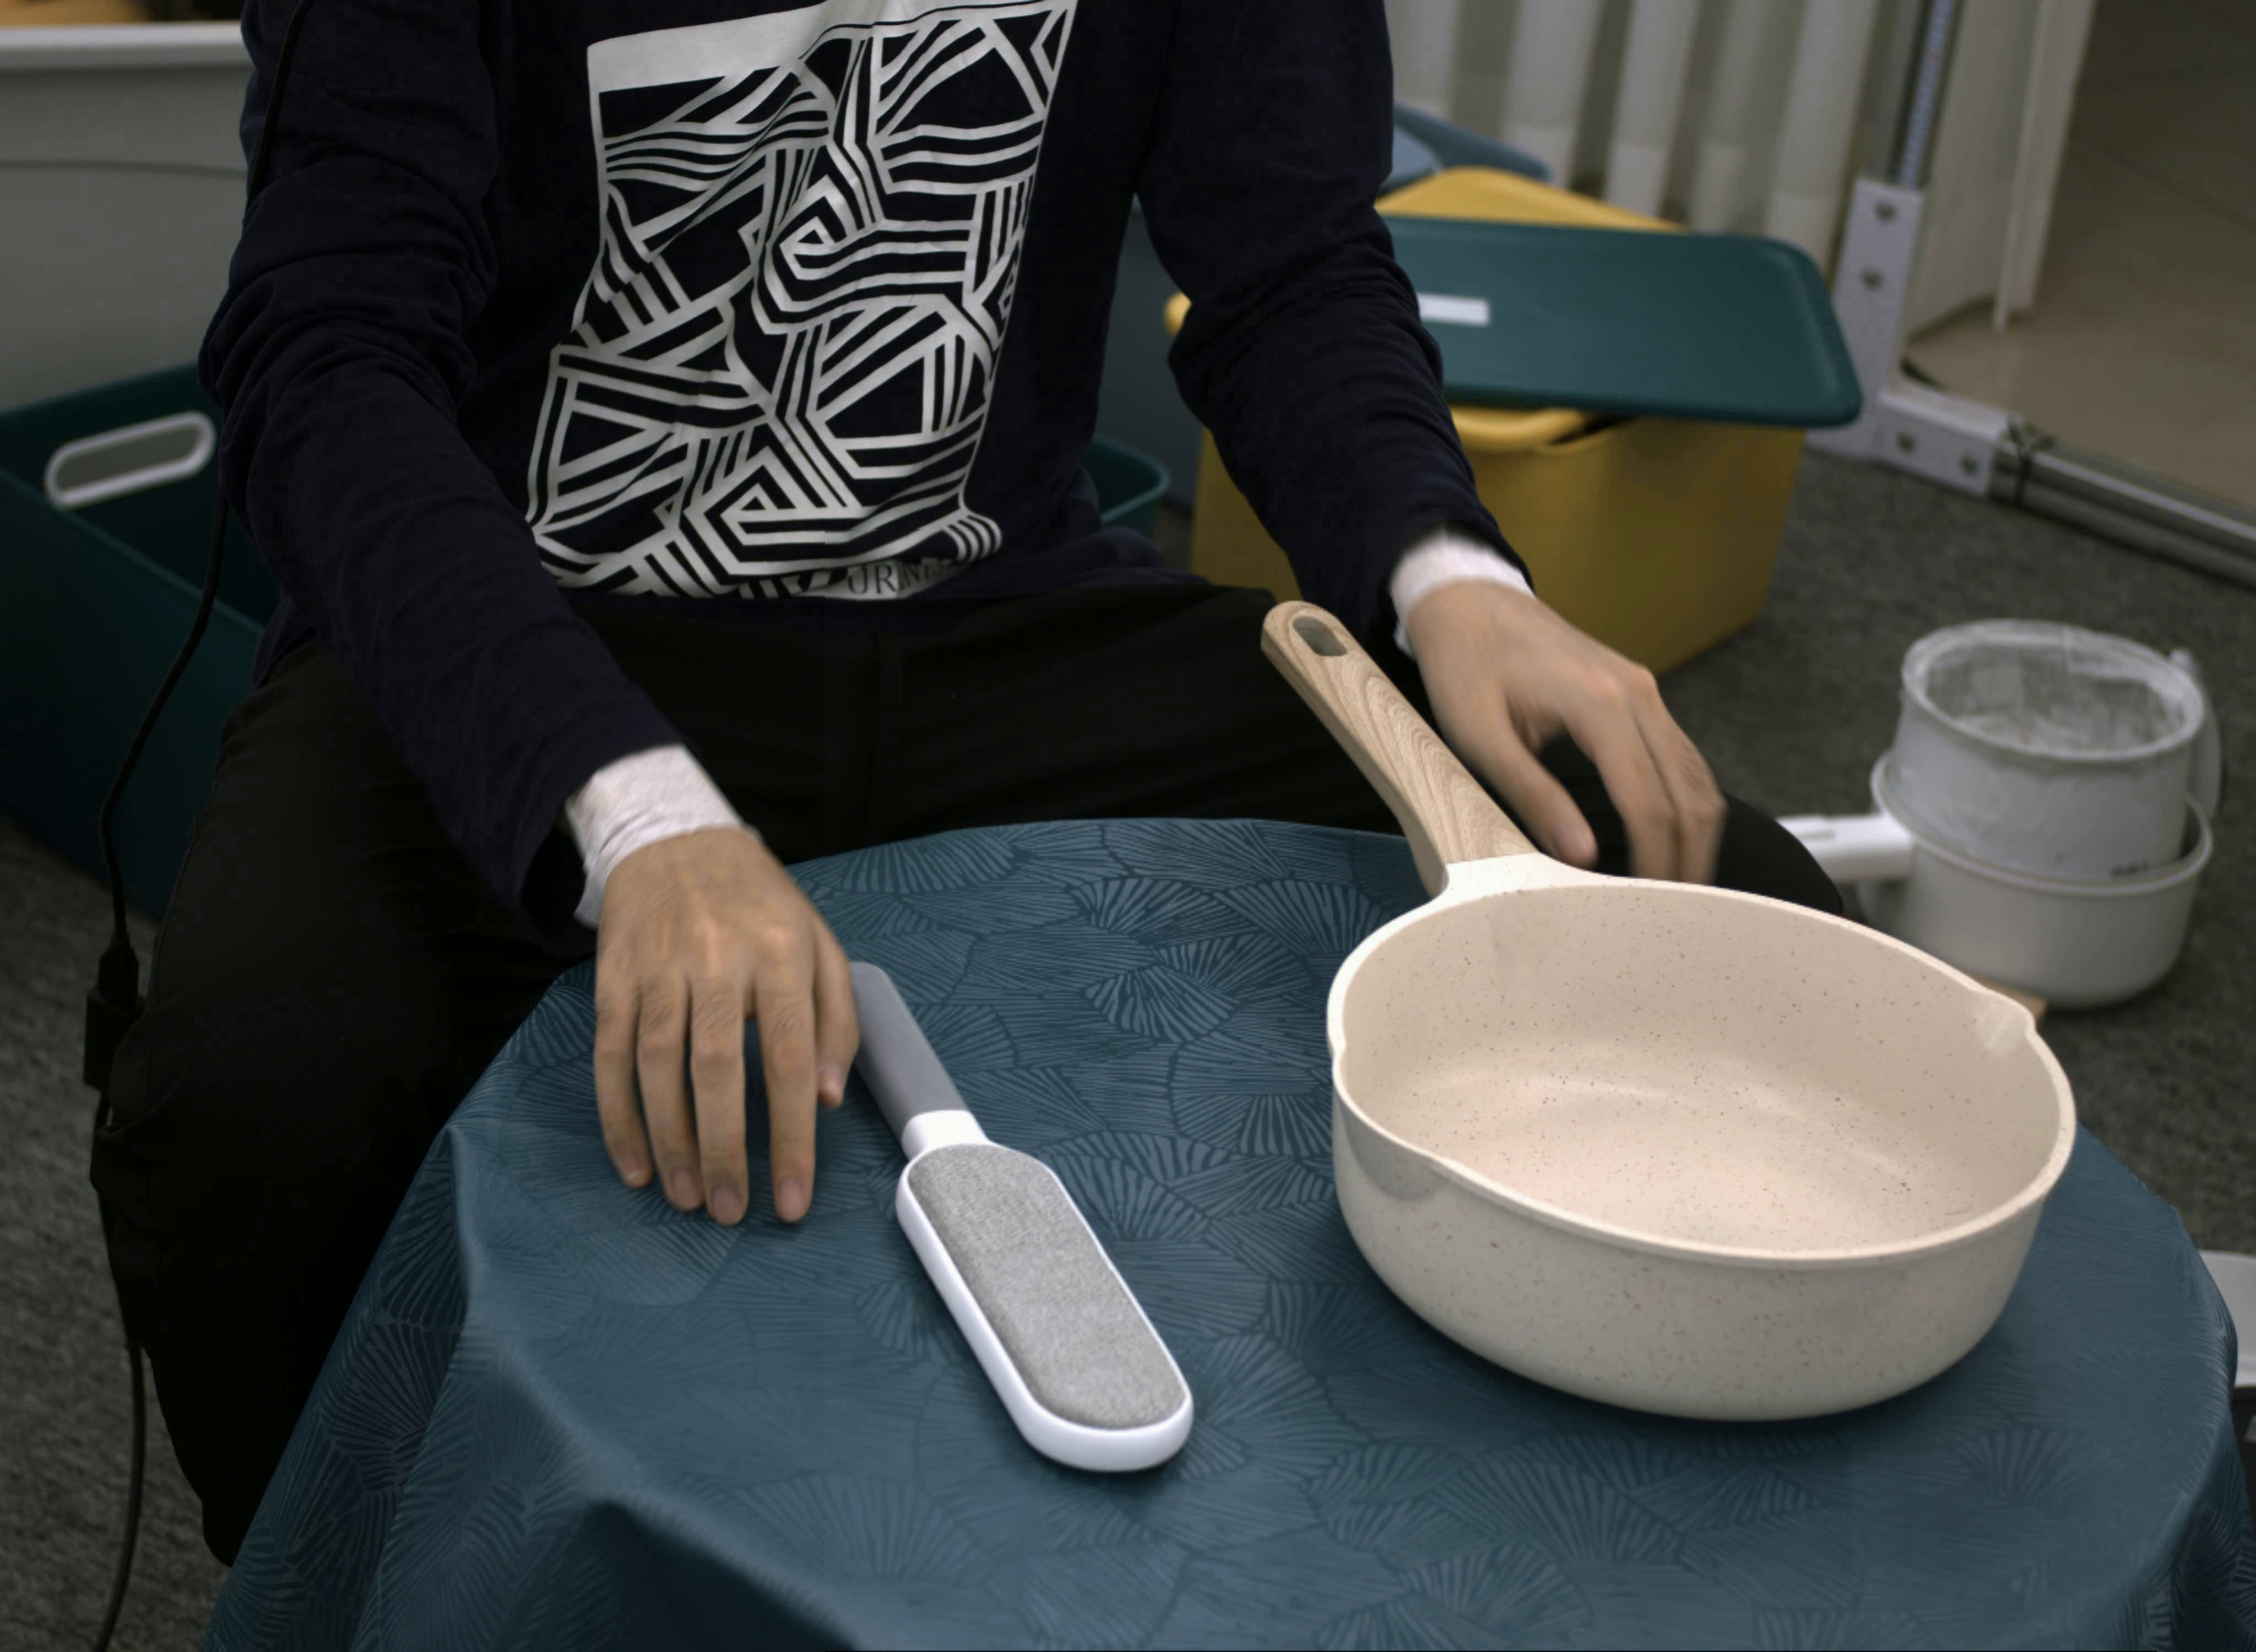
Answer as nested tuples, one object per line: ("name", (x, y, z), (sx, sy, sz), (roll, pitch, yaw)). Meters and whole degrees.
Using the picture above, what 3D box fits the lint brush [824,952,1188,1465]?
("lint brush", (-0.048, 0.121, 1.768), (0.060, 0.021, 0.311), (-8, 30, -17))

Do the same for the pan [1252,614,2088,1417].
("pan", (0.150, 0.062, 1.853), (0.262, 0.101, 0.439), (-10, 31, -24))
